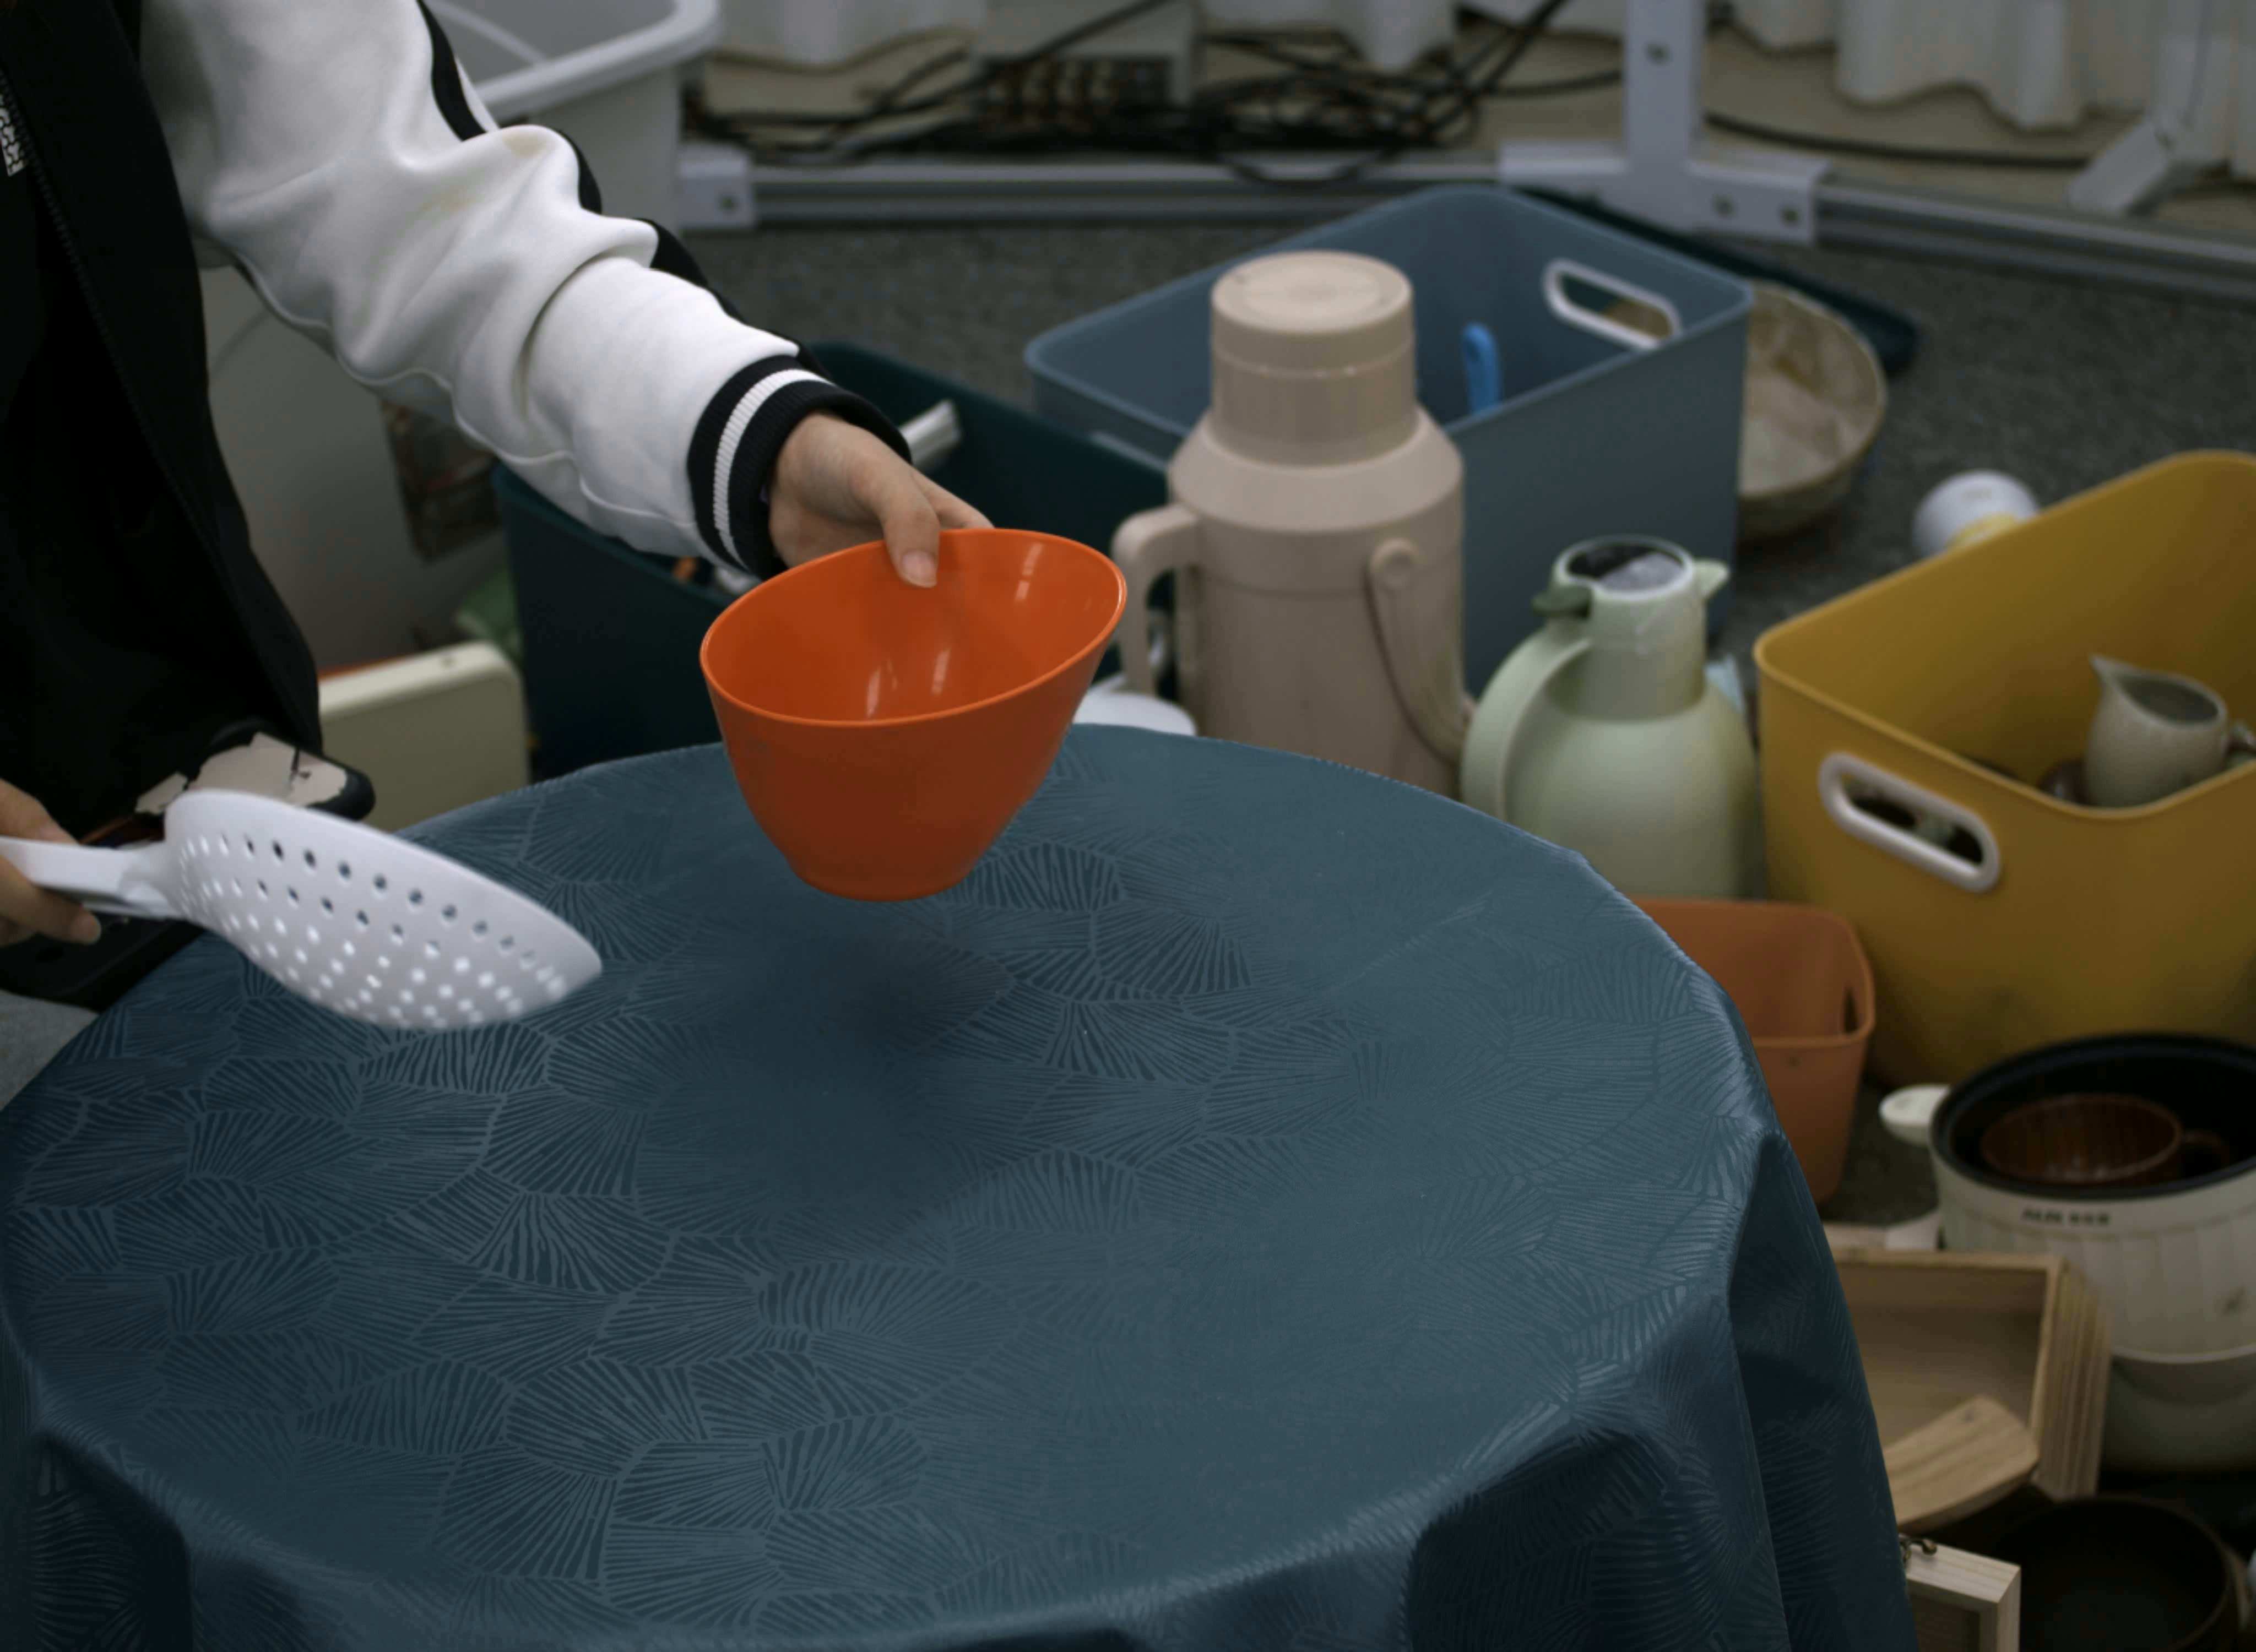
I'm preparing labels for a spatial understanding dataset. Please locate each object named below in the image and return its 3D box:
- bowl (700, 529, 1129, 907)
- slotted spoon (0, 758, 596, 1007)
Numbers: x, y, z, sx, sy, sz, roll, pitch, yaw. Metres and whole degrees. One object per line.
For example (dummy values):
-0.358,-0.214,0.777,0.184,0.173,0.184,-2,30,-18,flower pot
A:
-0.073,-0.032,1.941,0.147,0.103,0.150,1,28,0,bowl
-0.298,0.014,1.751,0.347,0.046,0.135,9,-19,48,slotted spoon
